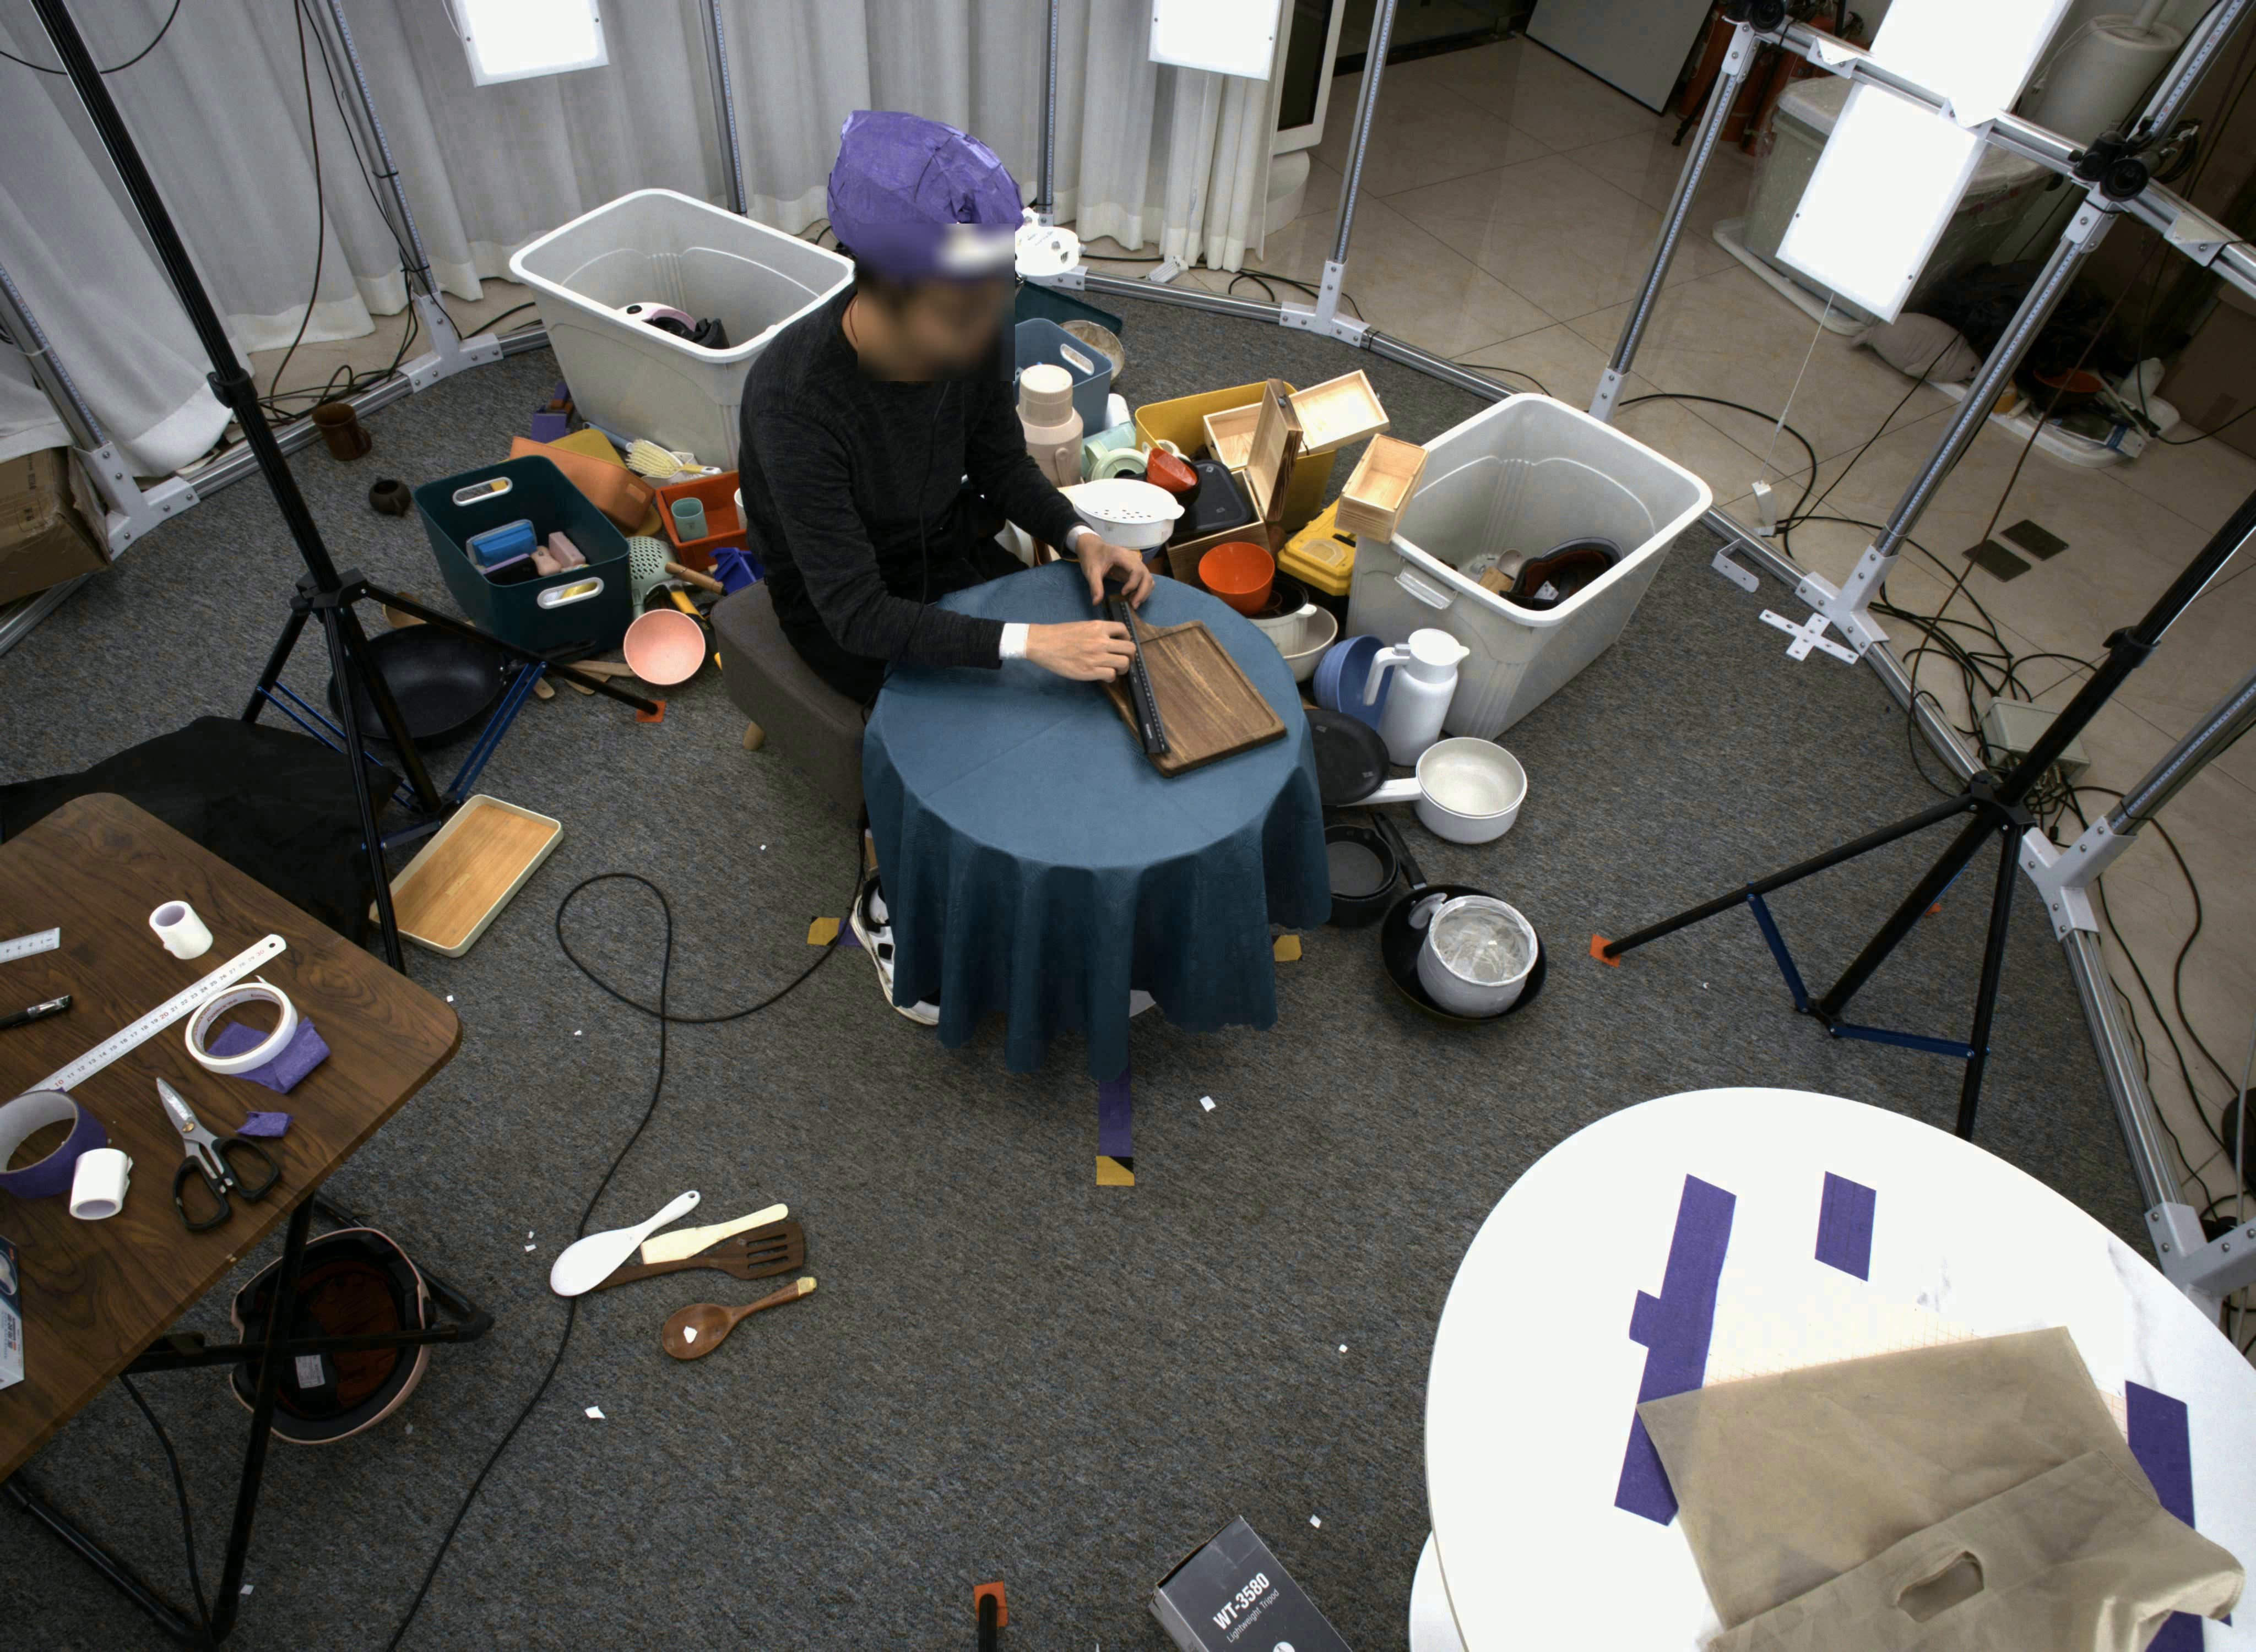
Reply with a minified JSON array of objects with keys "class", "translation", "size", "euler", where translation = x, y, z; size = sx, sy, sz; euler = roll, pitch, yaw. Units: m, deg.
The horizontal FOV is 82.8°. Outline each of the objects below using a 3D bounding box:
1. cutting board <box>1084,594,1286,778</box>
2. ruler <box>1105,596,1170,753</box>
[{"class":"cutting board","translation":[0.056,-0.222,1.853],"size":[0.201,0.022,0.360],"euler":[-20,53,-20]},{"class":"ruler","translation":[0.013,-0.222,1.817],"size":[0.039,0.017,0.320],"euler":[-2,48,-13]}]
